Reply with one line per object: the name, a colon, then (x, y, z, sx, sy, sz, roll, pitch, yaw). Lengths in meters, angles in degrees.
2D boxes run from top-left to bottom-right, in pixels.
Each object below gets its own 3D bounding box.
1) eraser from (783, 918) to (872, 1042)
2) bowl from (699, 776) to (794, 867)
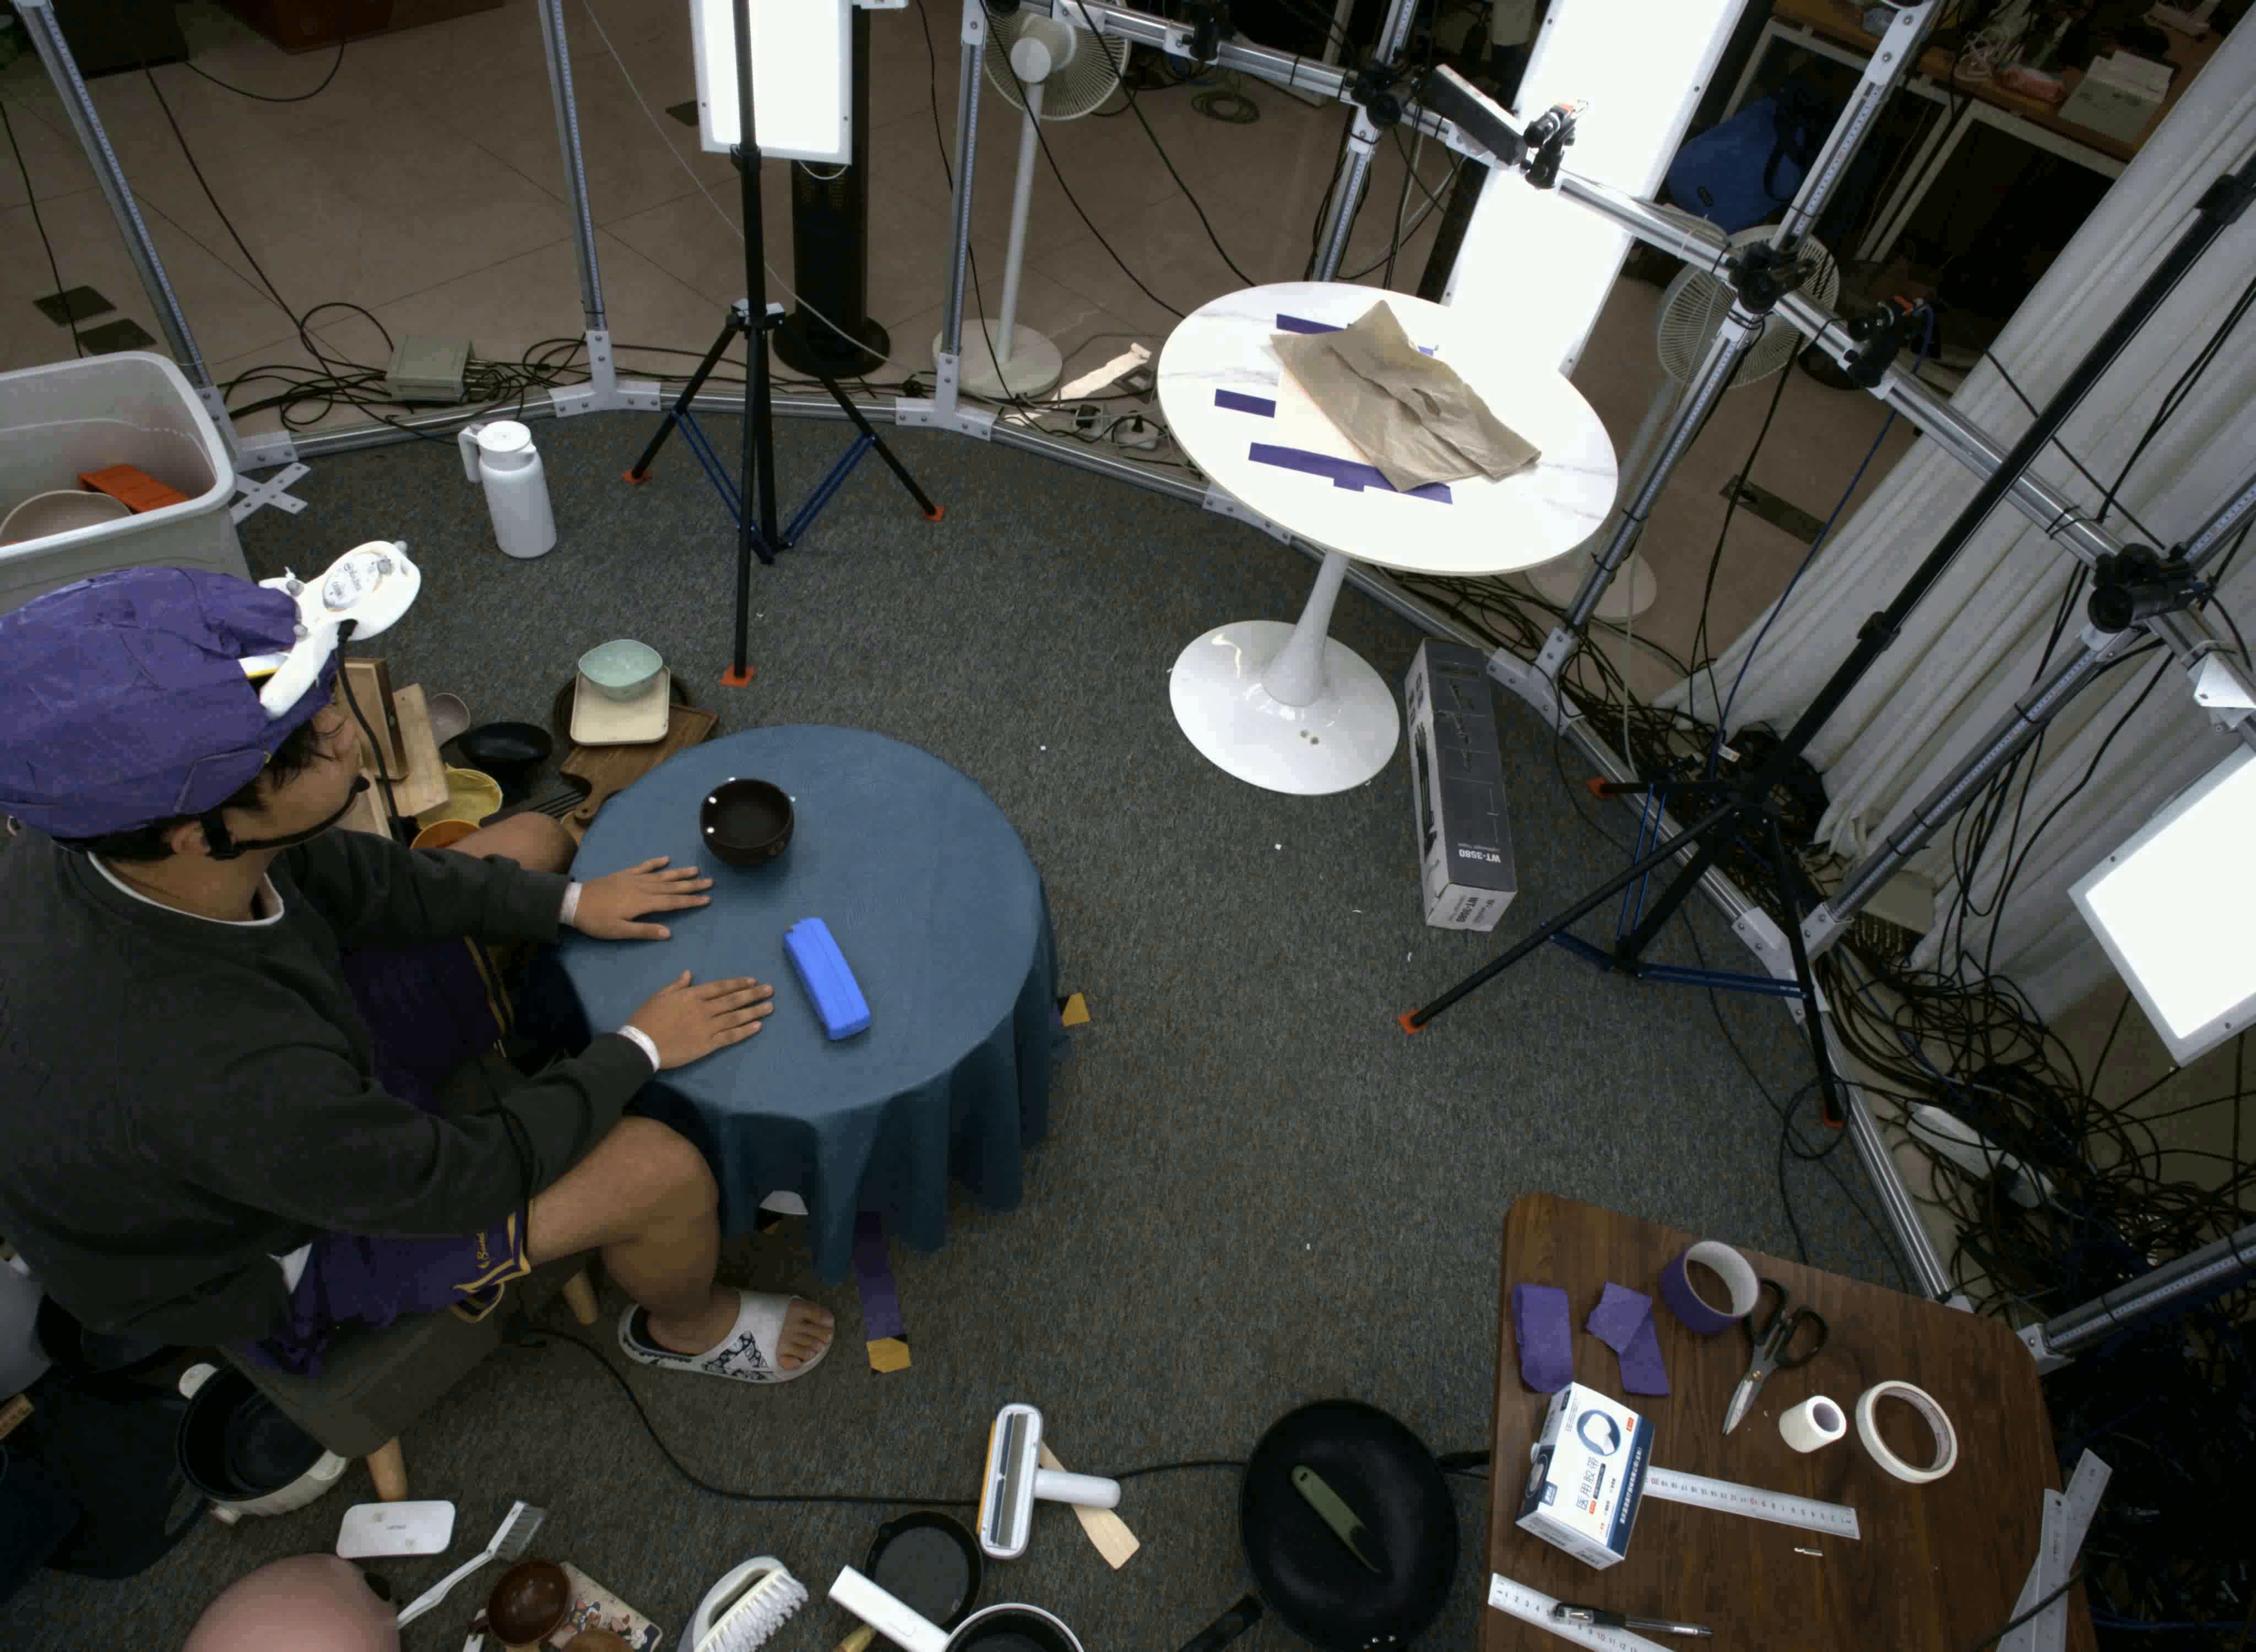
eraser: (-0.367, 0.180, 1.580, 0.054, 0.048, 0.158, -21, 61, -27)
bowl: (-0.489, 0.001, 1.664, 0.118, 0.071, 0.116, 7, 53, -8)
